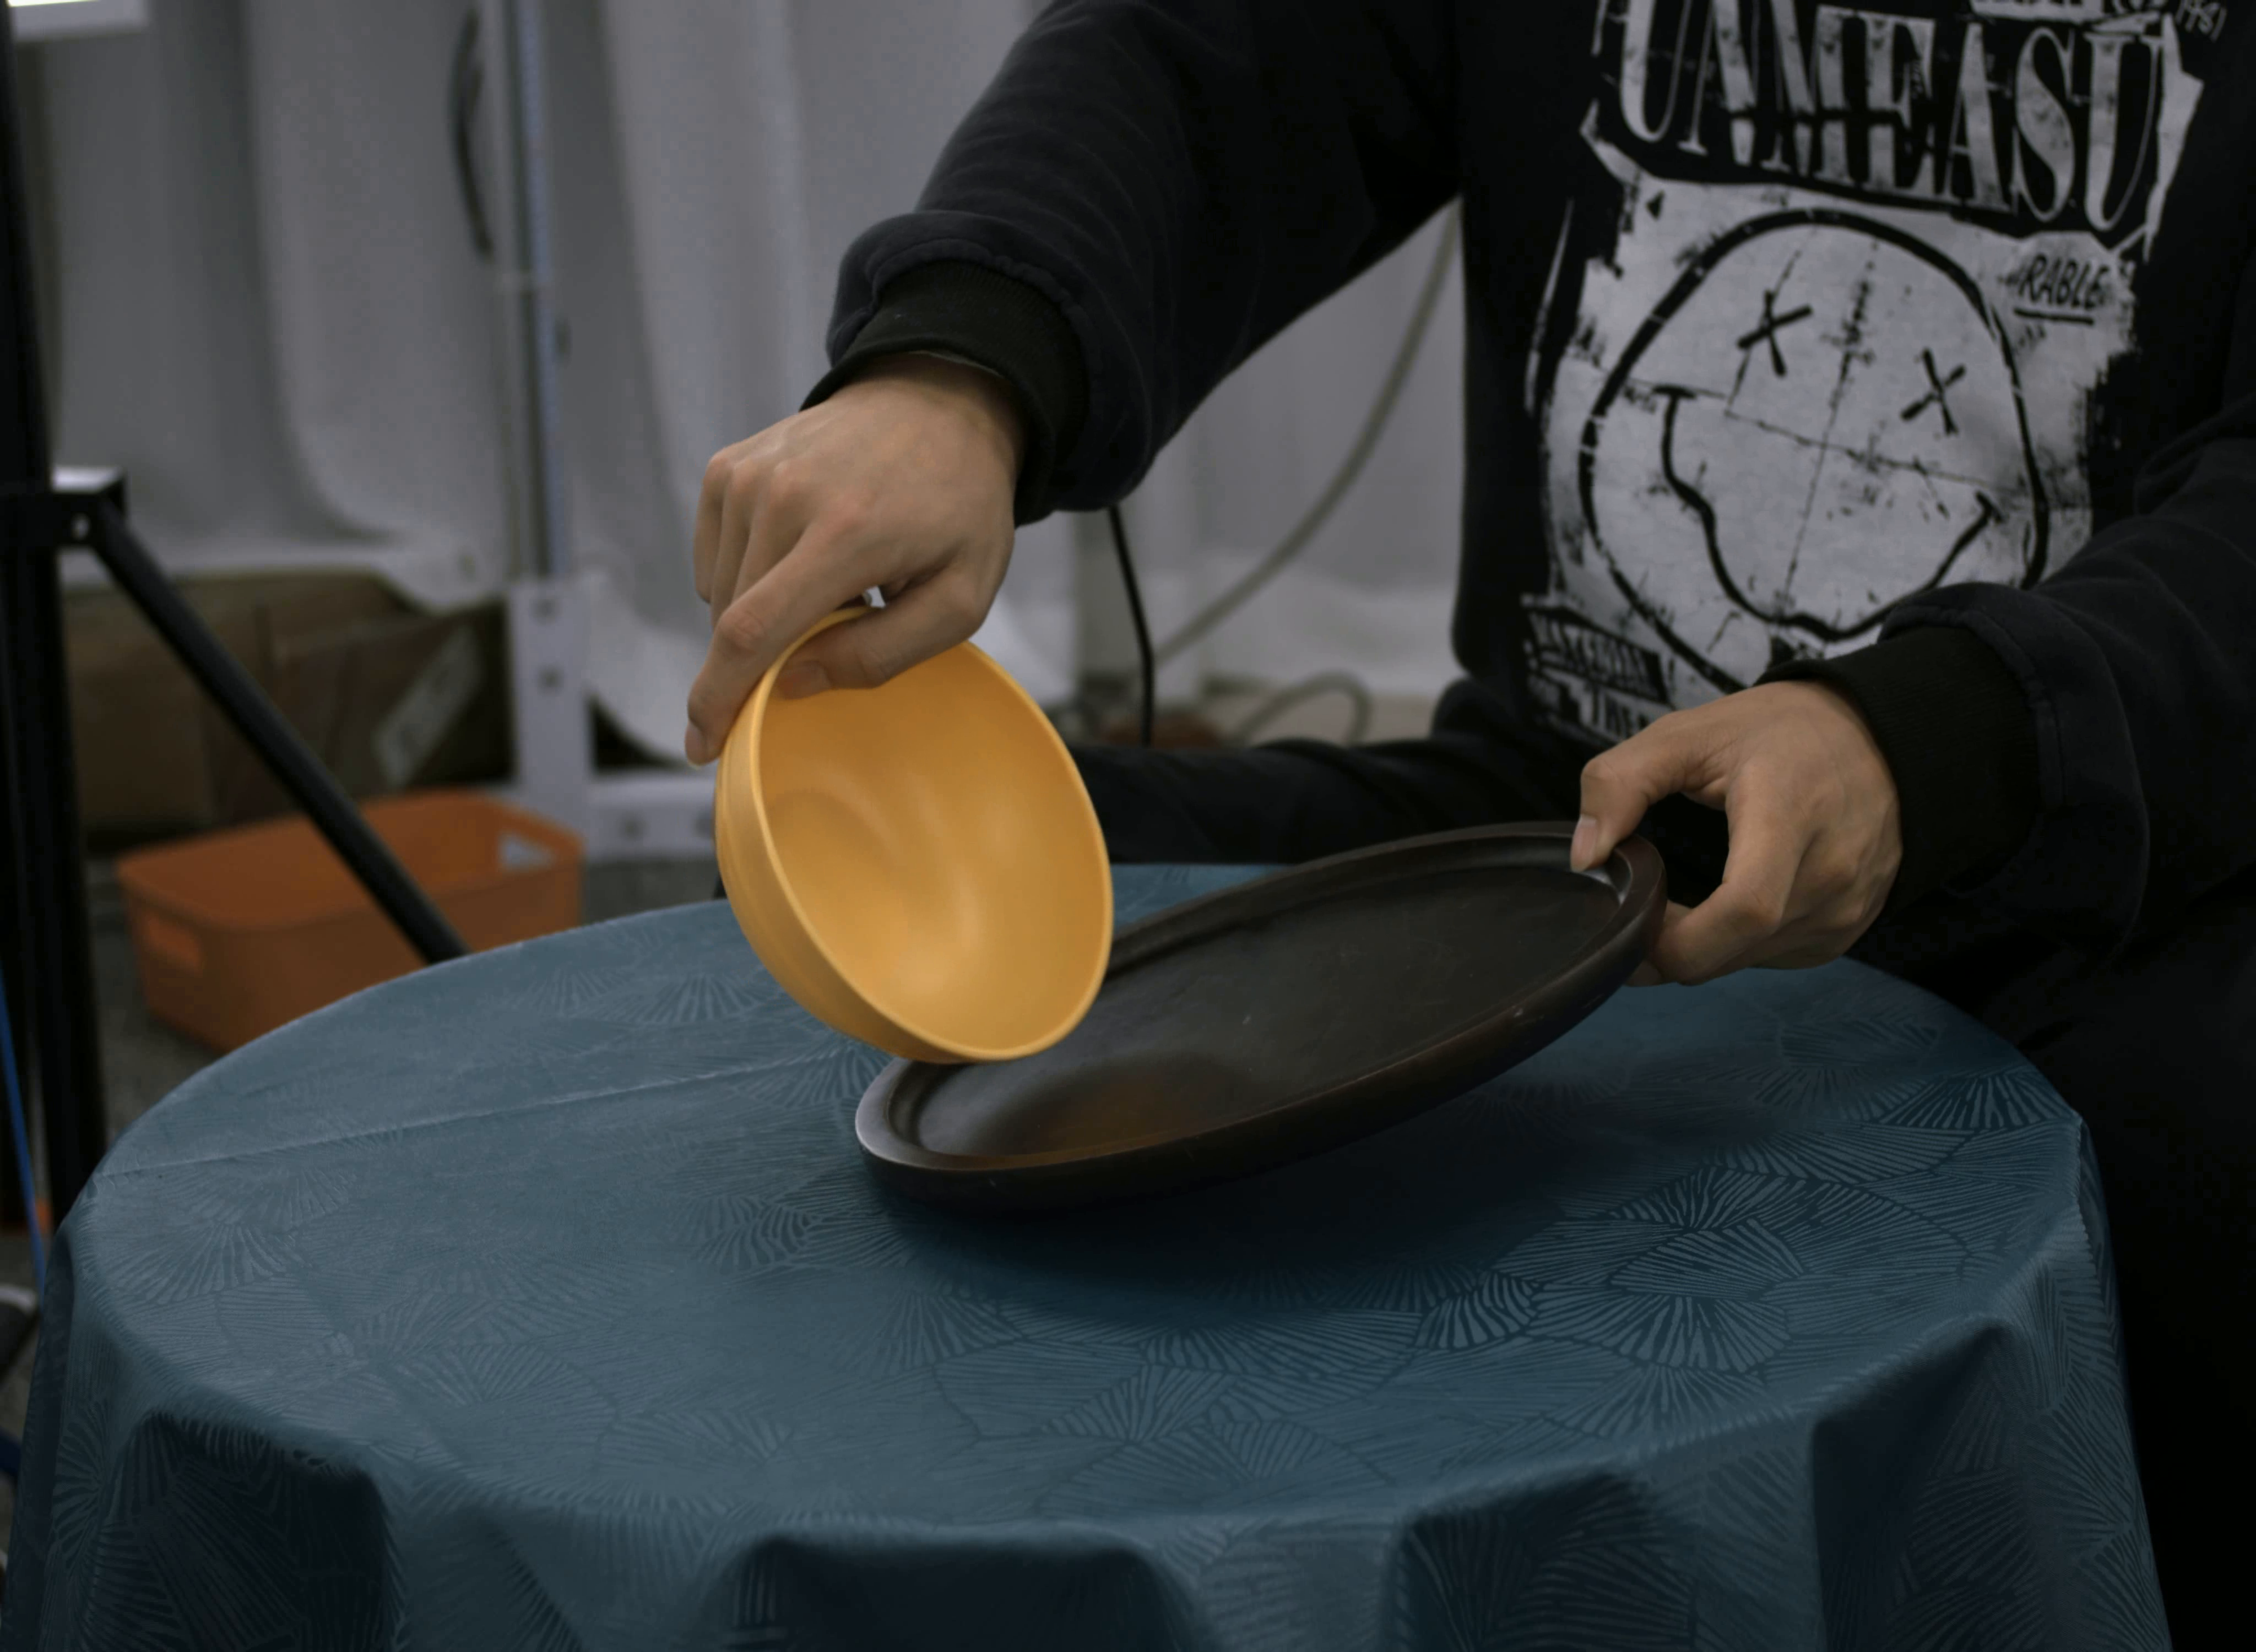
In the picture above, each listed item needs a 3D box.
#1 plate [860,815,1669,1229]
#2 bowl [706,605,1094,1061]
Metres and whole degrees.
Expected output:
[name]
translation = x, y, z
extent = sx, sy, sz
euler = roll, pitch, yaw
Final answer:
[plate]
translation = 0.041, 0.057, 1.575
extent = 0.254, 0.029, 0.256
euler = -20, 12, 3
[bowl]
translation = -0.079, 0.011, 1.594
extent = 0.061, 0.146, 0.142
euler = -29, -3, 36
